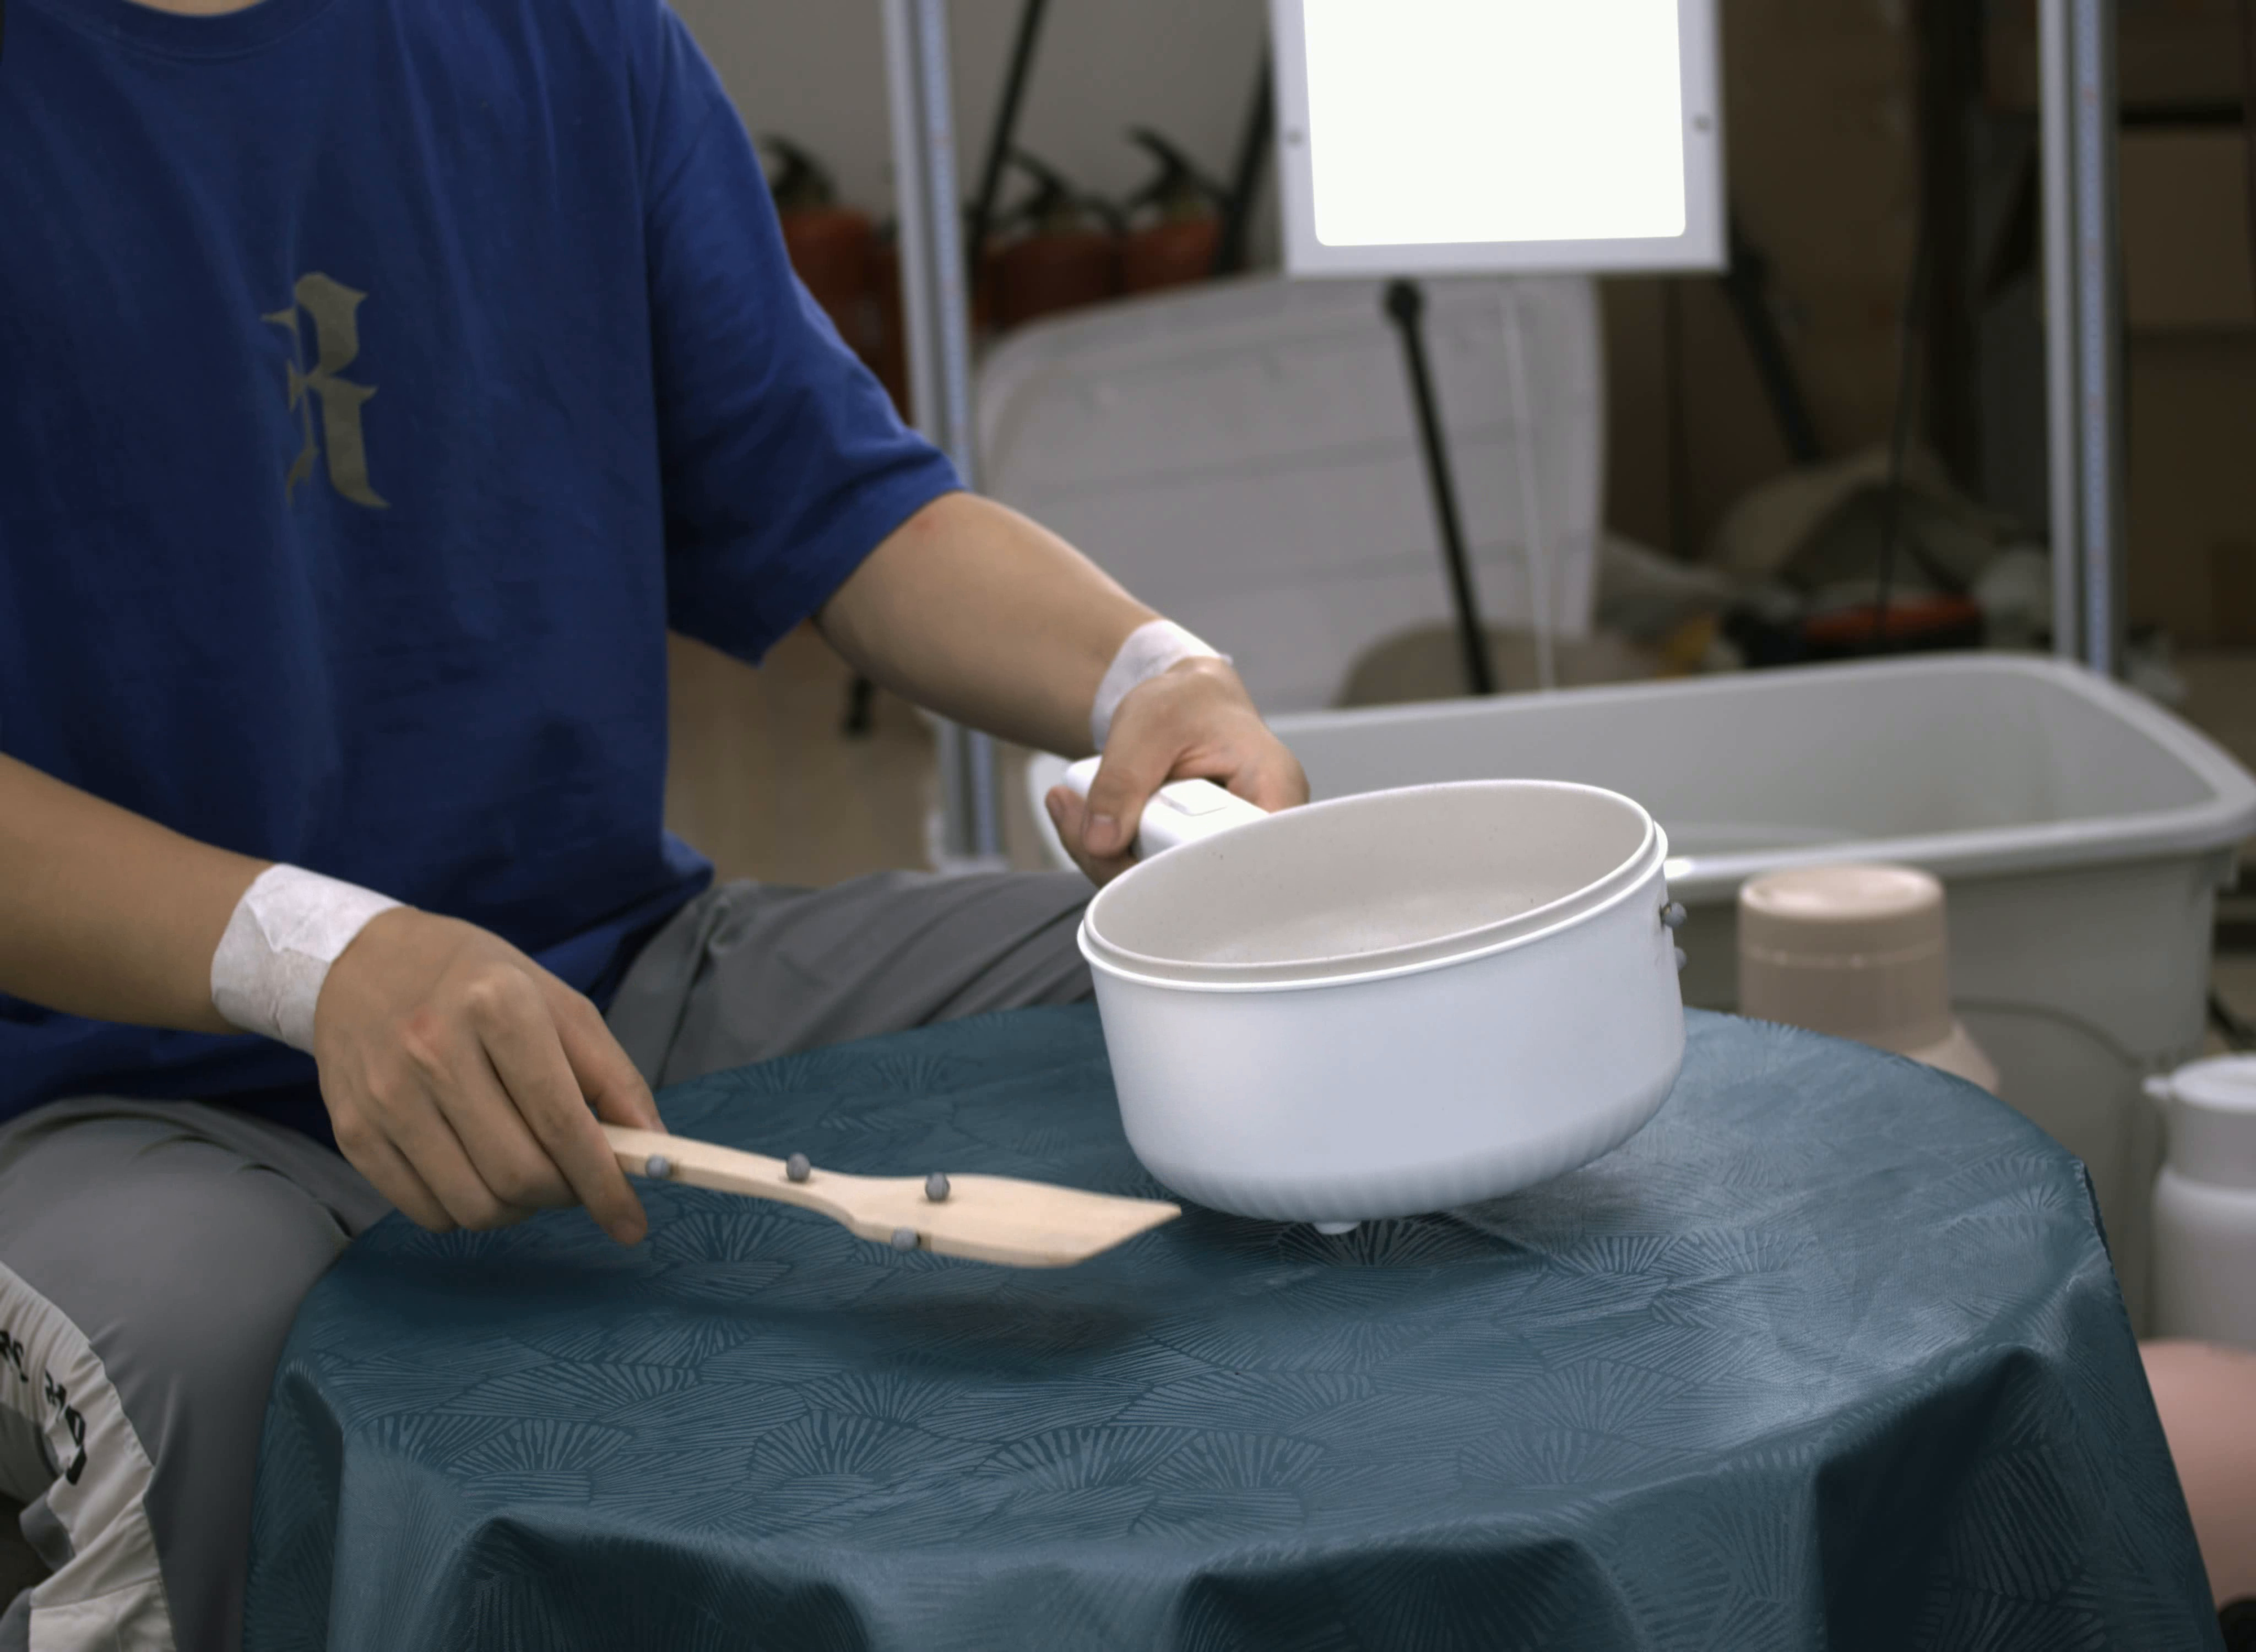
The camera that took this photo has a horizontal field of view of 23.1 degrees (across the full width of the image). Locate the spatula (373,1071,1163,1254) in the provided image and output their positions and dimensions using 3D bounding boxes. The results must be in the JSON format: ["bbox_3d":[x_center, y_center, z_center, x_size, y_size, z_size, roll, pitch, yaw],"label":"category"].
[{"bbox_3d":[-0.129,0.109,1.819,0.298,0.011,0.070,8,16,31],"label":"spatula"}]

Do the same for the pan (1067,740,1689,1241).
[{"bbox_3d":[0.063,0.048,1.929,0.198,0.102,0.359,-18,16,-17],"label":"pan"}]
